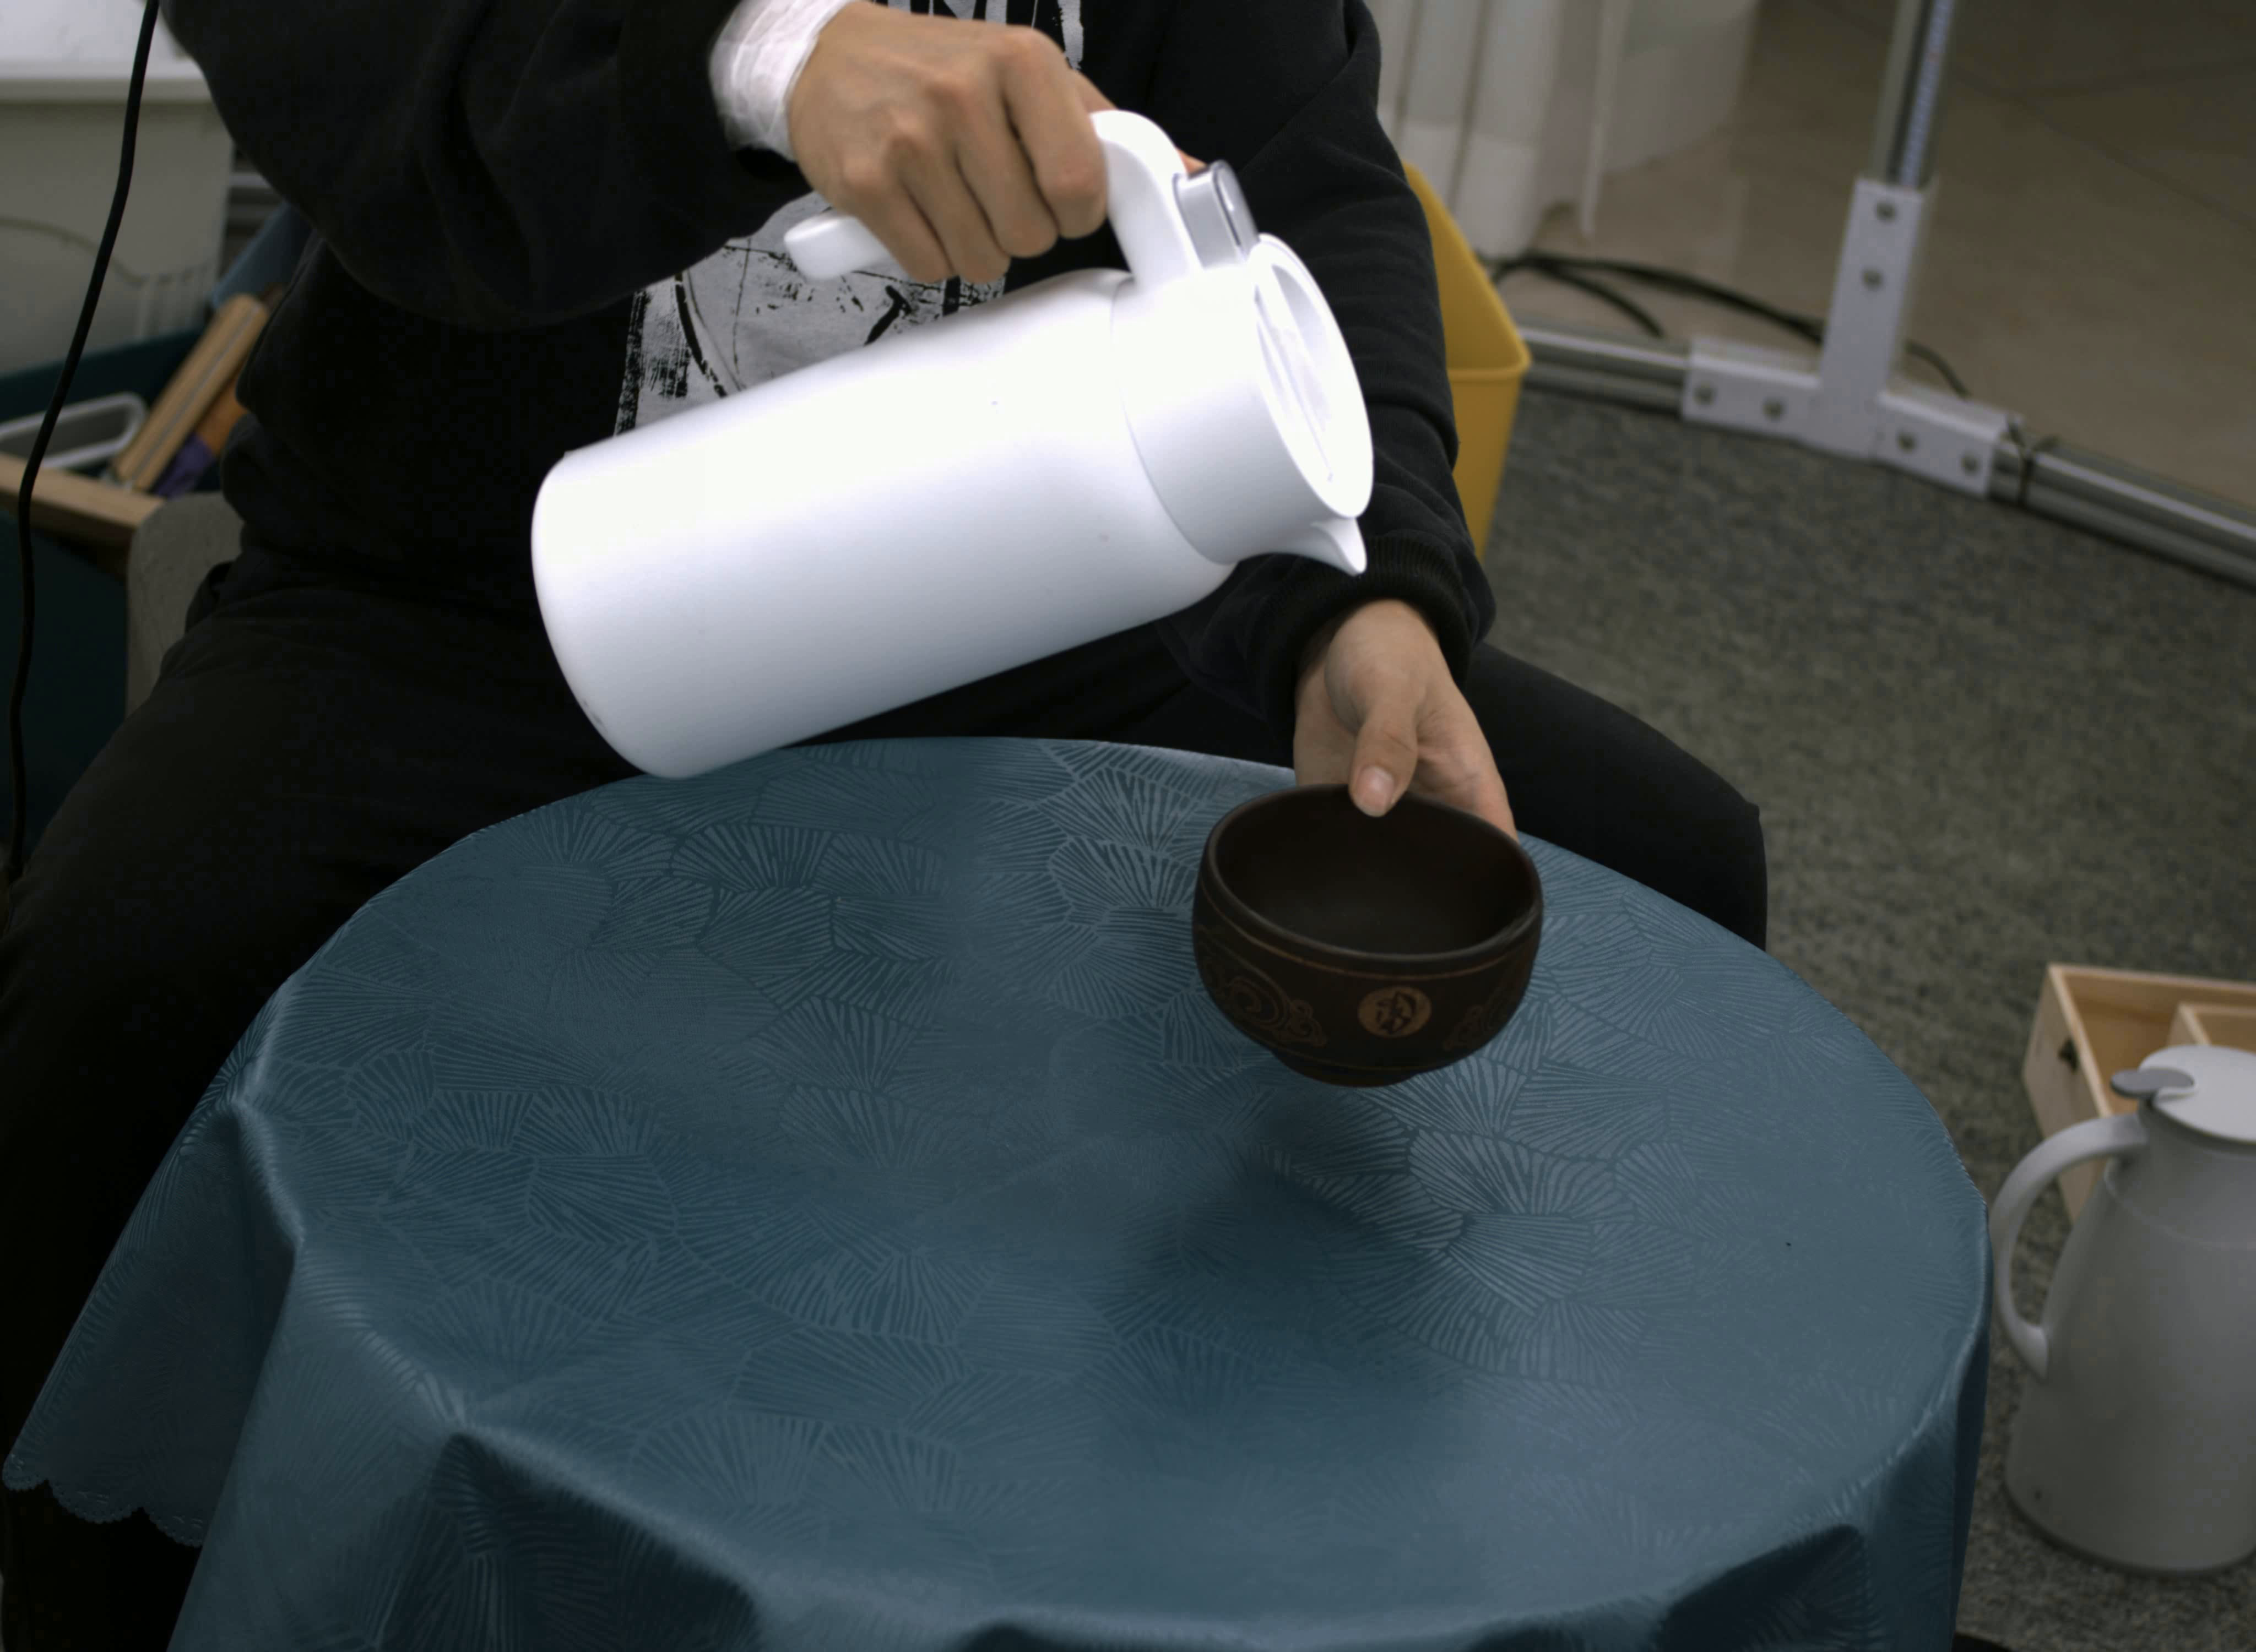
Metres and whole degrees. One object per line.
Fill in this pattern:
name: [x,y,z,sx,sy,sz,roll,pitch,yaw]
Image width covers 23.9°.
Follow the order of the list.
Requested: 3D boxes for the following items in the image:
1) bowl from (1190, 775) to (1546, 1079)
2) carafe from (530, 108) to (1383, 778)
bowl: [0.078,0.041,1.776,0.117,0.069,0.119,5,29,-3]
carafe: [-0.067,-0.123,1.760,0.269,0.172,0.124,-18,16,24]
